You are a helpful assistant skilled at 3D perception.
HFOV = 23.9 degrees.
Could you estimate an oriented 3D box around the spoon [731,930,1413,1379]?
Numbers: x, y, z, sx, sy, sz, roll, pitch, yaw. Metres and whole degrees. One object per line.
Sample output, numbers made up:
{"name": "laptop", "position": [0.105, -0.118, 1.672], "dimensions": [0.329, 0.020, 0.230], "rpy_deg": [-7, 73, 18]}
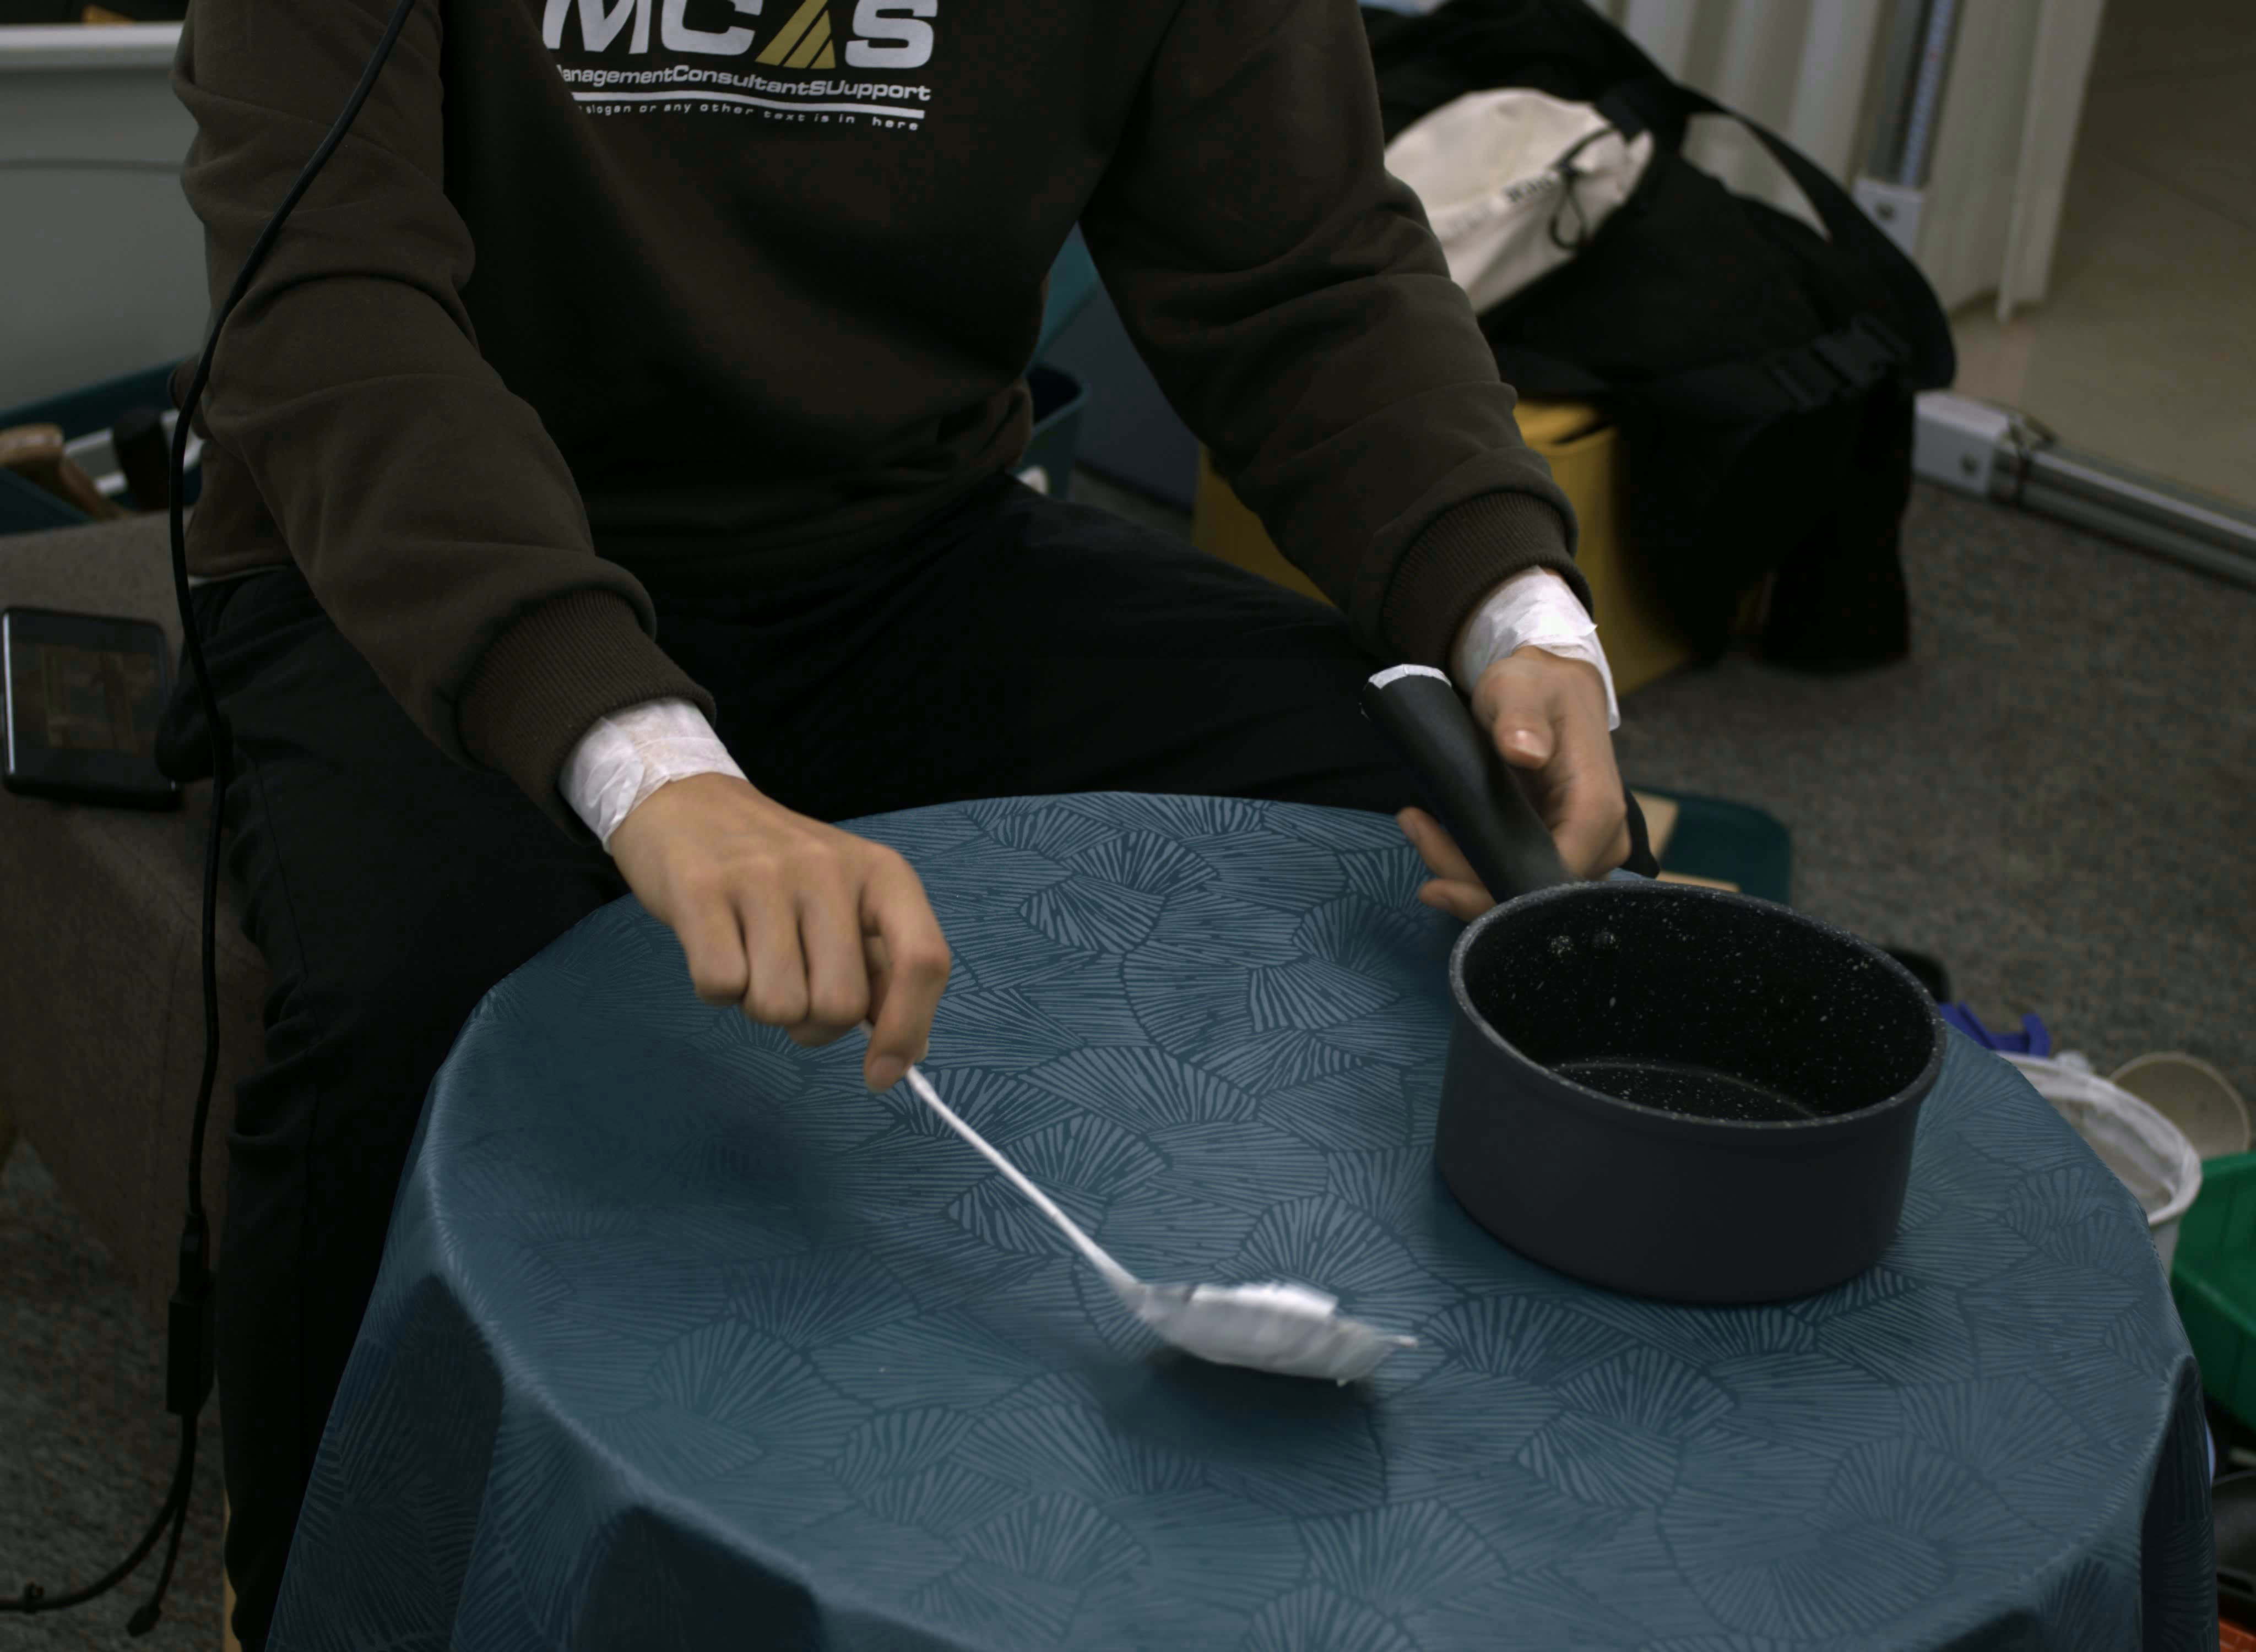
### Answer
{"name": "spoon", "position": [-0.021, 0.099, 1.740], "dimensions": [0.059, 0.100, 0.279], "rpy_deg": [-46, 60, -7]}

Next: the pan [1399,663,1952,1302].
{"name": "pan", "position": [0.164, 0.052, 1.891], "dimensions": [0.171, 0.086, 0.332], "rpy_deg": [-3, 29, -20]}
